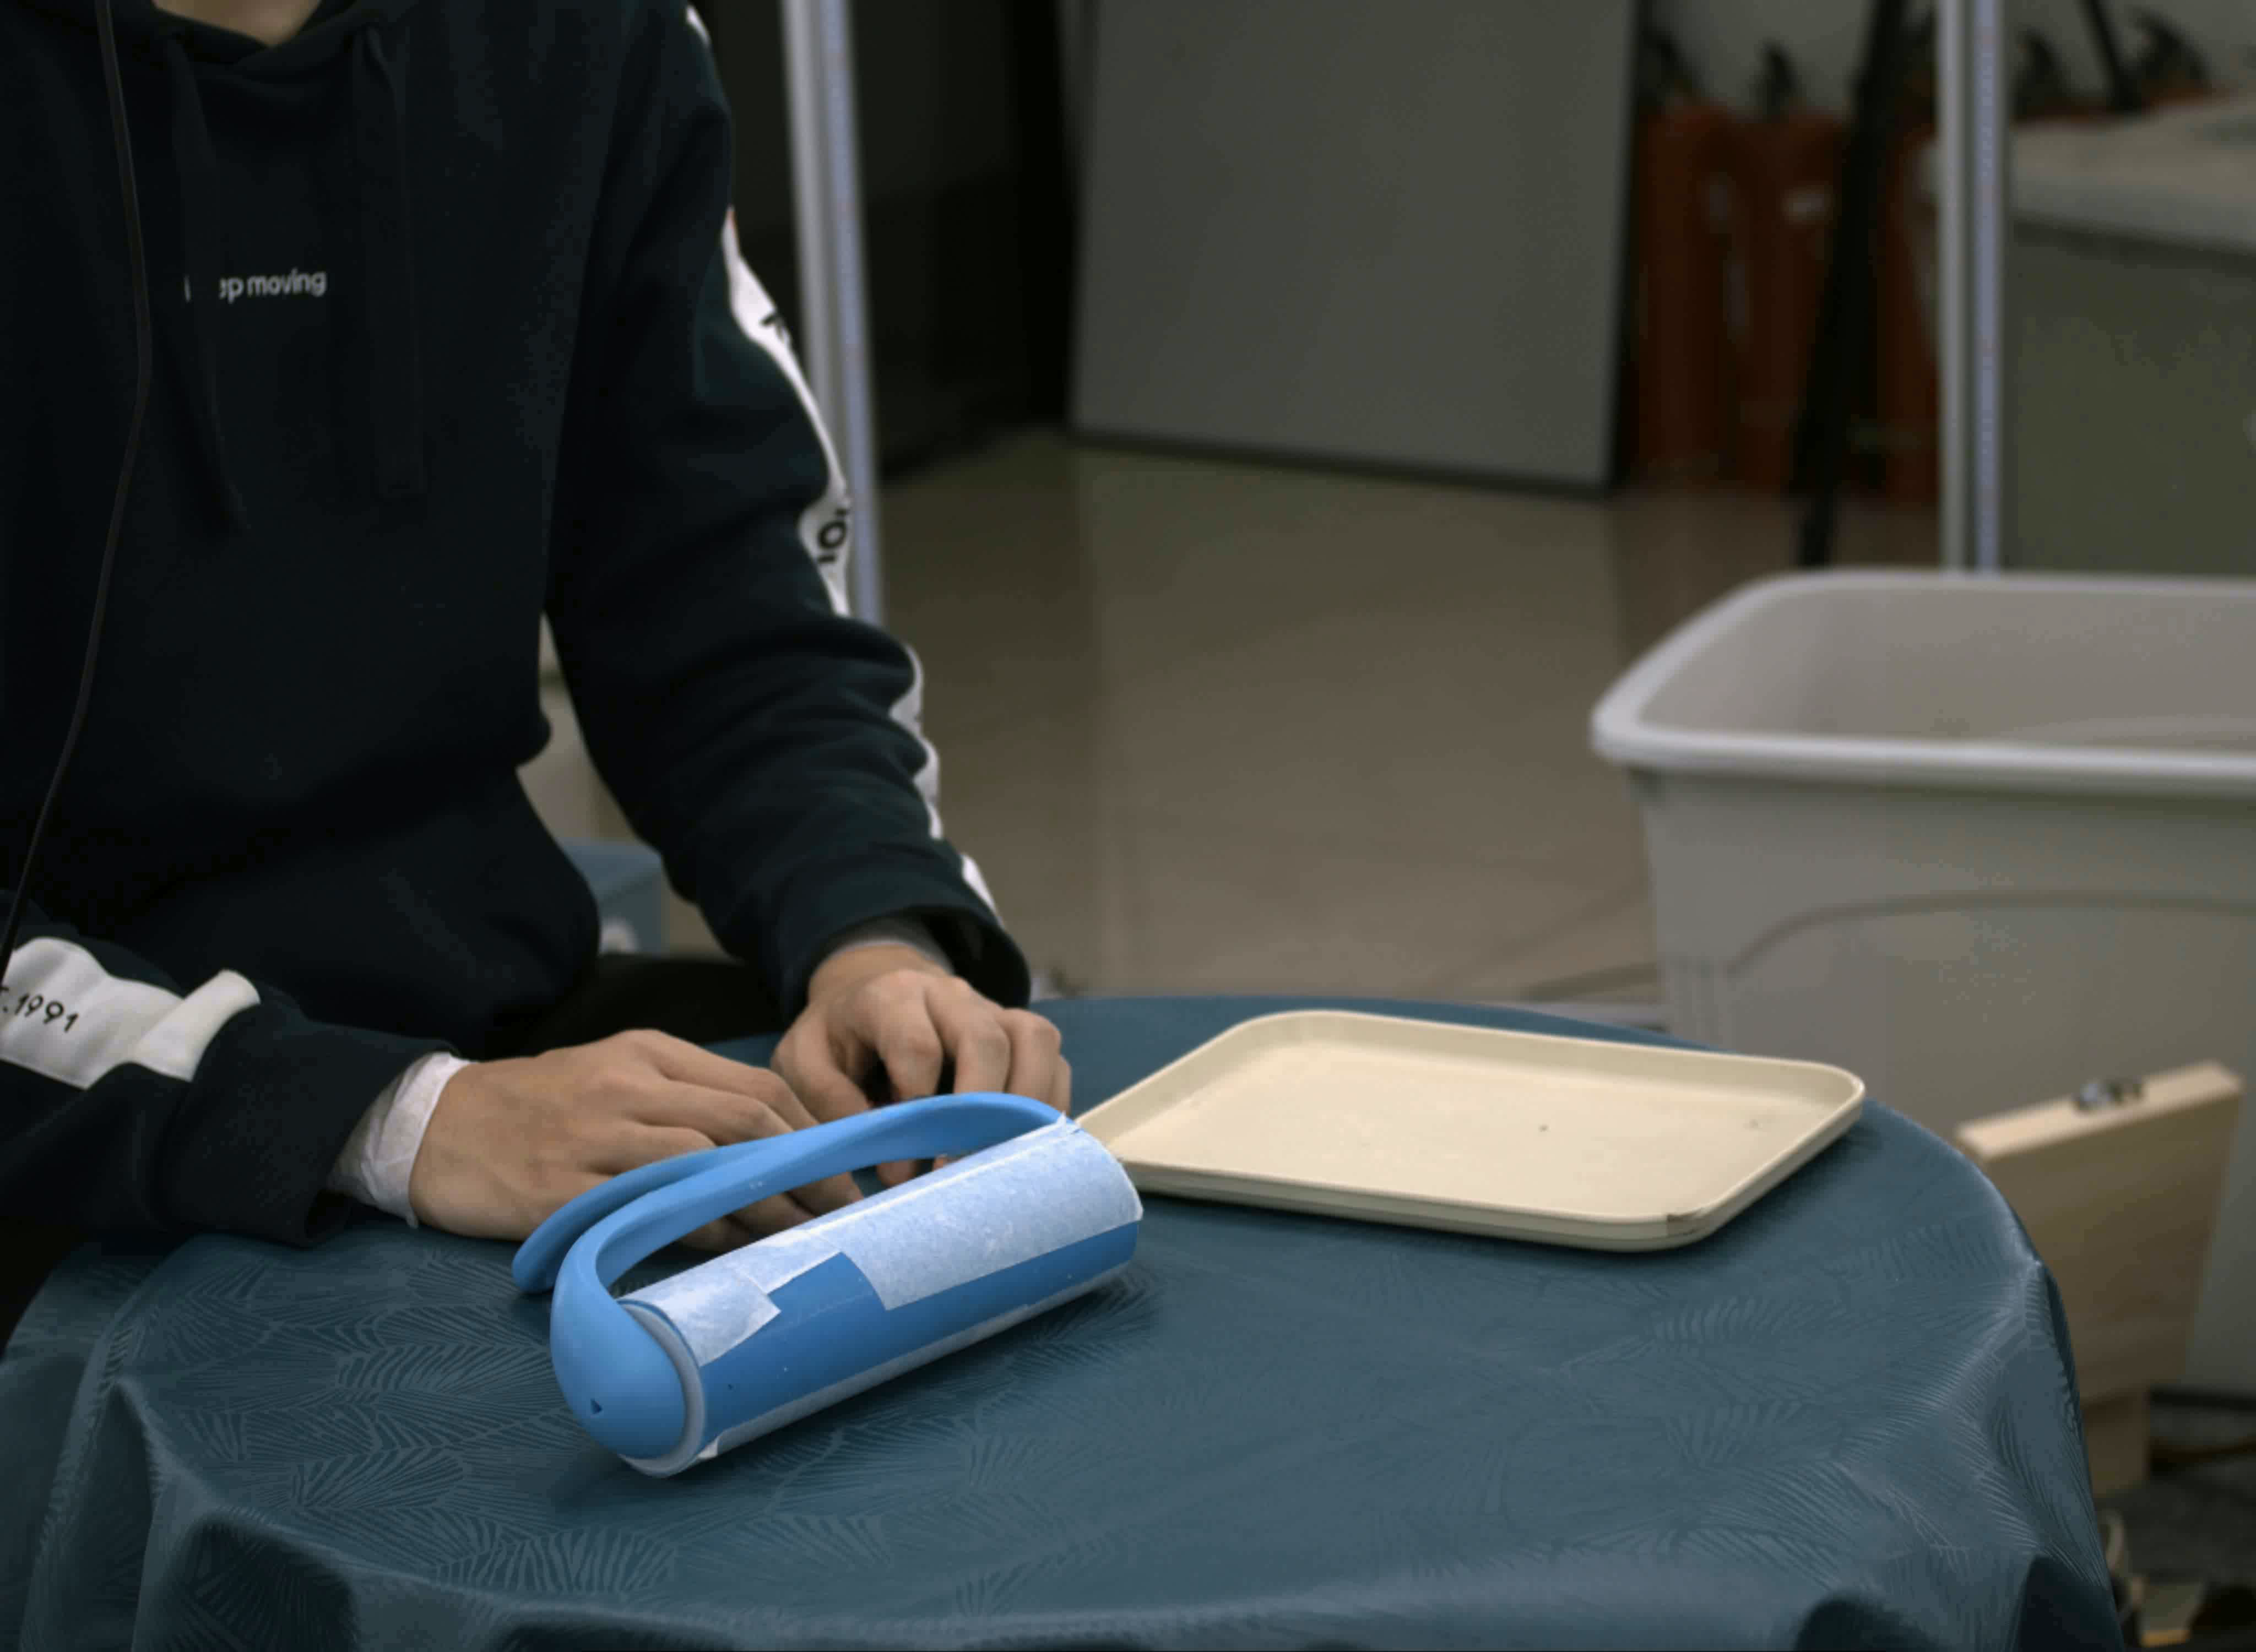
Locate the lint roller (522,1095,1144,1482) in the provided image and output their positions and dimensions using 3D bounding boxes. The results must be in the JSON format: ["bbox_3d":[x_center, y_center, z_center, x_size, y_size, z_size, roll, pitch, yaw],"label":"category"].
[{"bbox_3d":[-0.121,0.132,1.644,0.181,0.068,0.225,8,20,38],"label":"lint roller"}]

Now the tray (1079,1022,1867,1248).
[{"bbox_3d":[0.113,0.102,1.779,0.241,0.017,0.168,4,15,31],"label":"tray"}]
